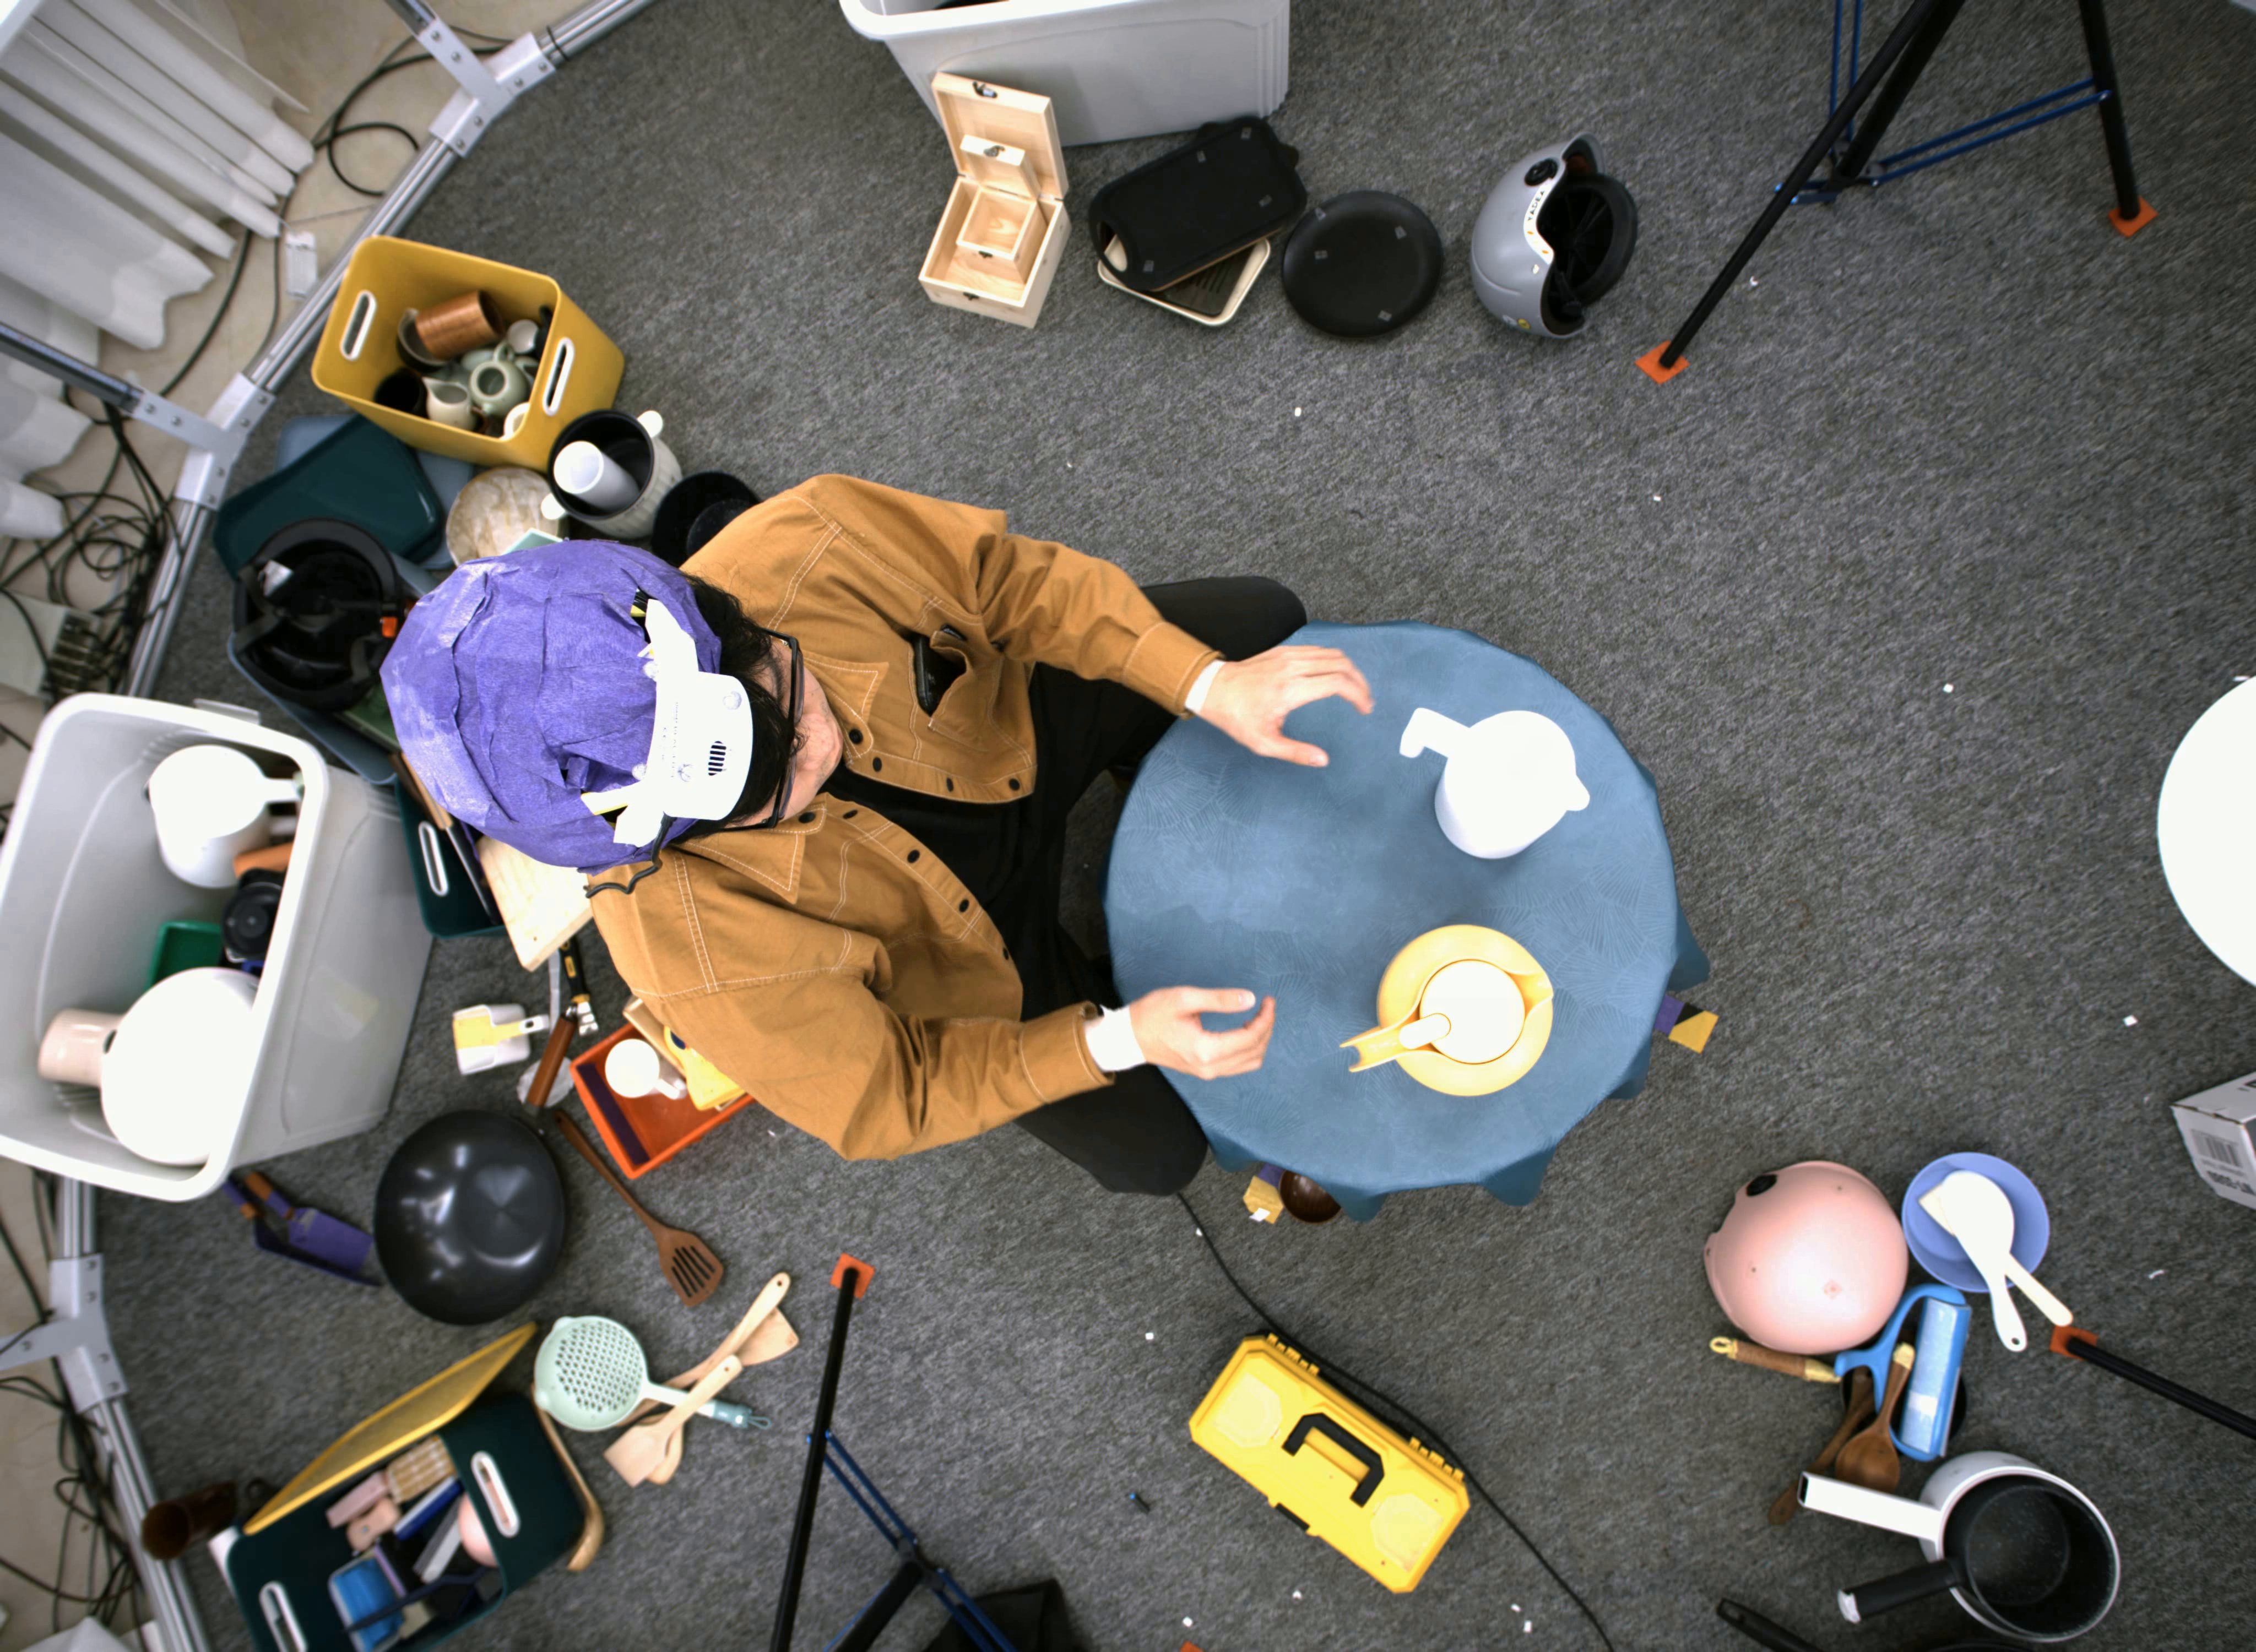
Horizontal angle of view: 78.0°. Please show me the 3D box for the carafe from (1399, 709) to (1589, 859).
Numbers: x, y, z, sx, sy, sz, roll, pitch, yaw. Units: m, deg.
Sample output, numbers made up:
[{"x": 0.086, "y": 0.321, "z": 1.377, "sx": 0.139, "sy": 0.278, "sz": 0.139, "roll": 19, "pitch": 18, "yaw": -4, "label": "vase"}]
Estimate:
[{"x": 0.343, "y": -0.045, "z": 1.317, "sx": 0.172, "sy": 0.268, "sz": 0.124, "roll": 27, "pitch": 92, "yaw": 12, "label": "carafe"}]

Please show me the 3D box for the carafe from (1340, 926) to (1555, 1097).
[{"x": 0.301, "y": 0.180, "z": 1.317, "sx": 0.203, "sy": 0.261, "sz": 0.162, "roll": -20, "pitch": 80, "yaw": 7, "label": "carafe"}]
